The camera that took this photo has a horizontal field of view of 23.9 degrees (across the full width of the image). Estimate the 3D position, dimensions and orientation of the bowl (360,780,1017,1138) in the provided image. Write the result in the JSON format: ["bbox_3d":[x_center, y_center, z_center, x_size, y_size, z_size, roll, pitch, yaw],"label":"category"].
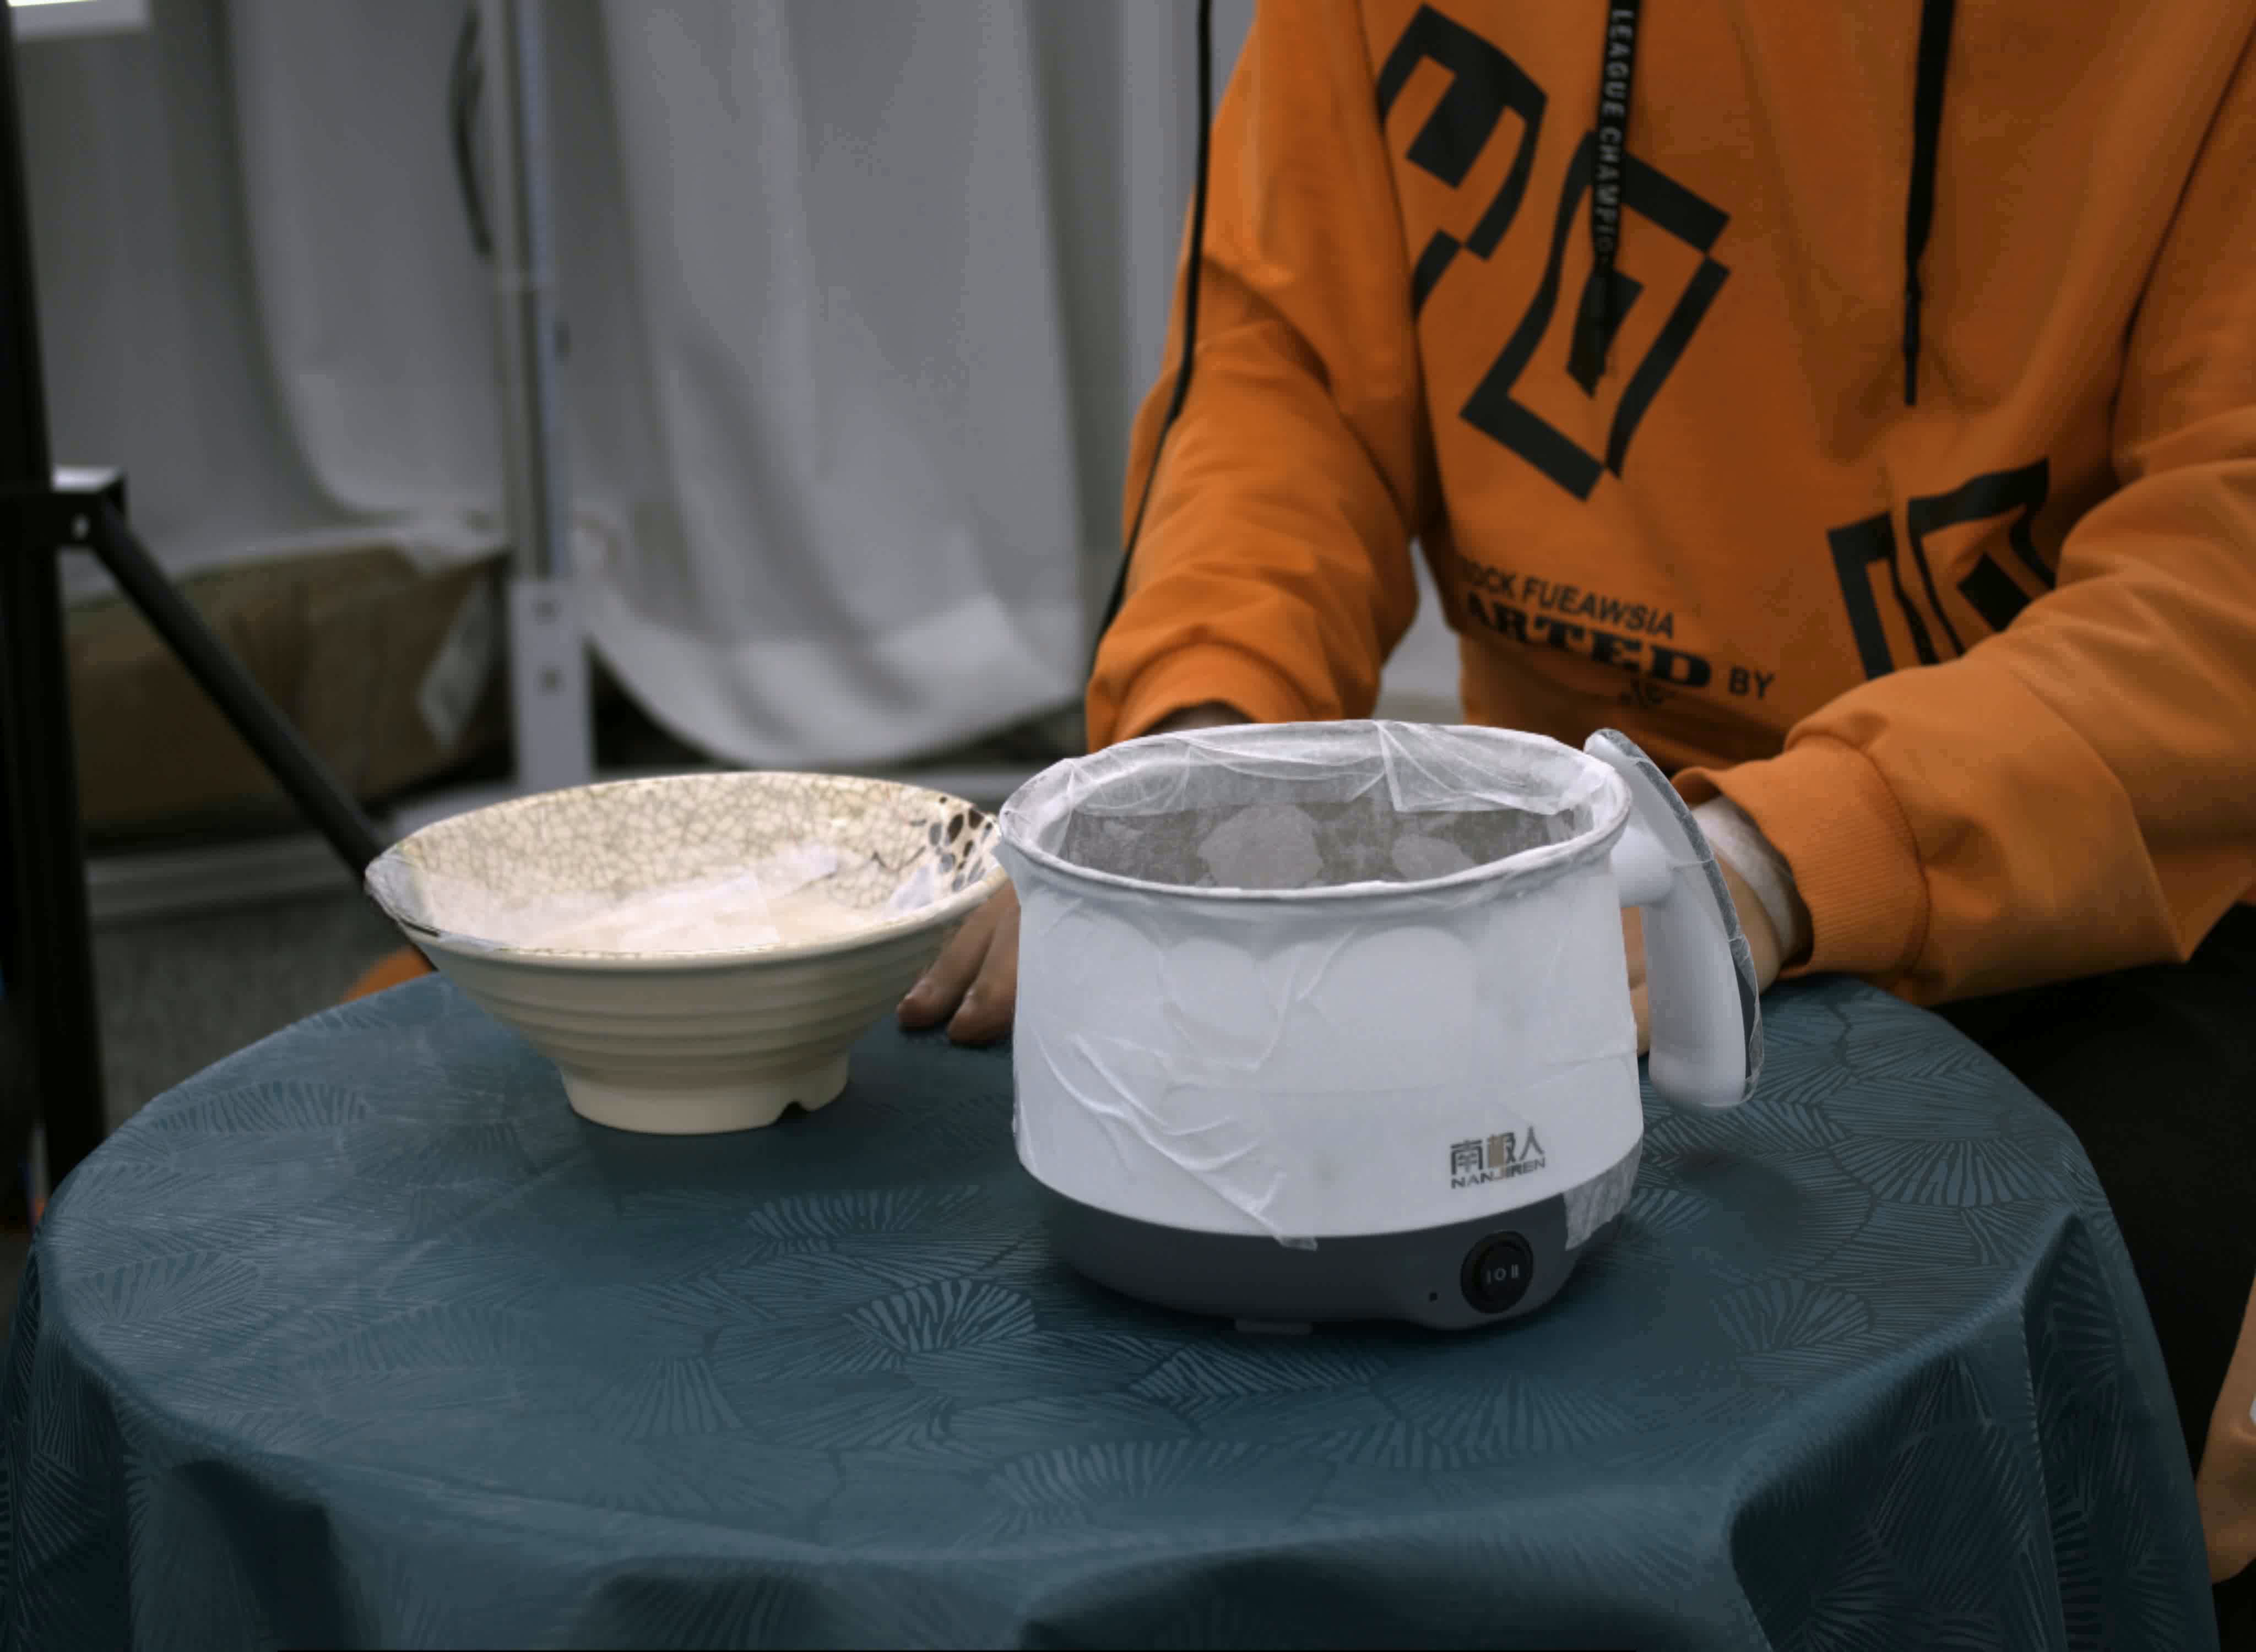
[{"bbox_3d":[-0.135,0.047,1.658,0.203,0.078,0.205,-2,14,-1],"label":"bowl"}]

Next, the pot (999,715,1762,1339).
[{"bbox_3d":[0.078,0.049,1.499,0.228,0.136,0.182,-12,18,-29],"label":"pot"}]
